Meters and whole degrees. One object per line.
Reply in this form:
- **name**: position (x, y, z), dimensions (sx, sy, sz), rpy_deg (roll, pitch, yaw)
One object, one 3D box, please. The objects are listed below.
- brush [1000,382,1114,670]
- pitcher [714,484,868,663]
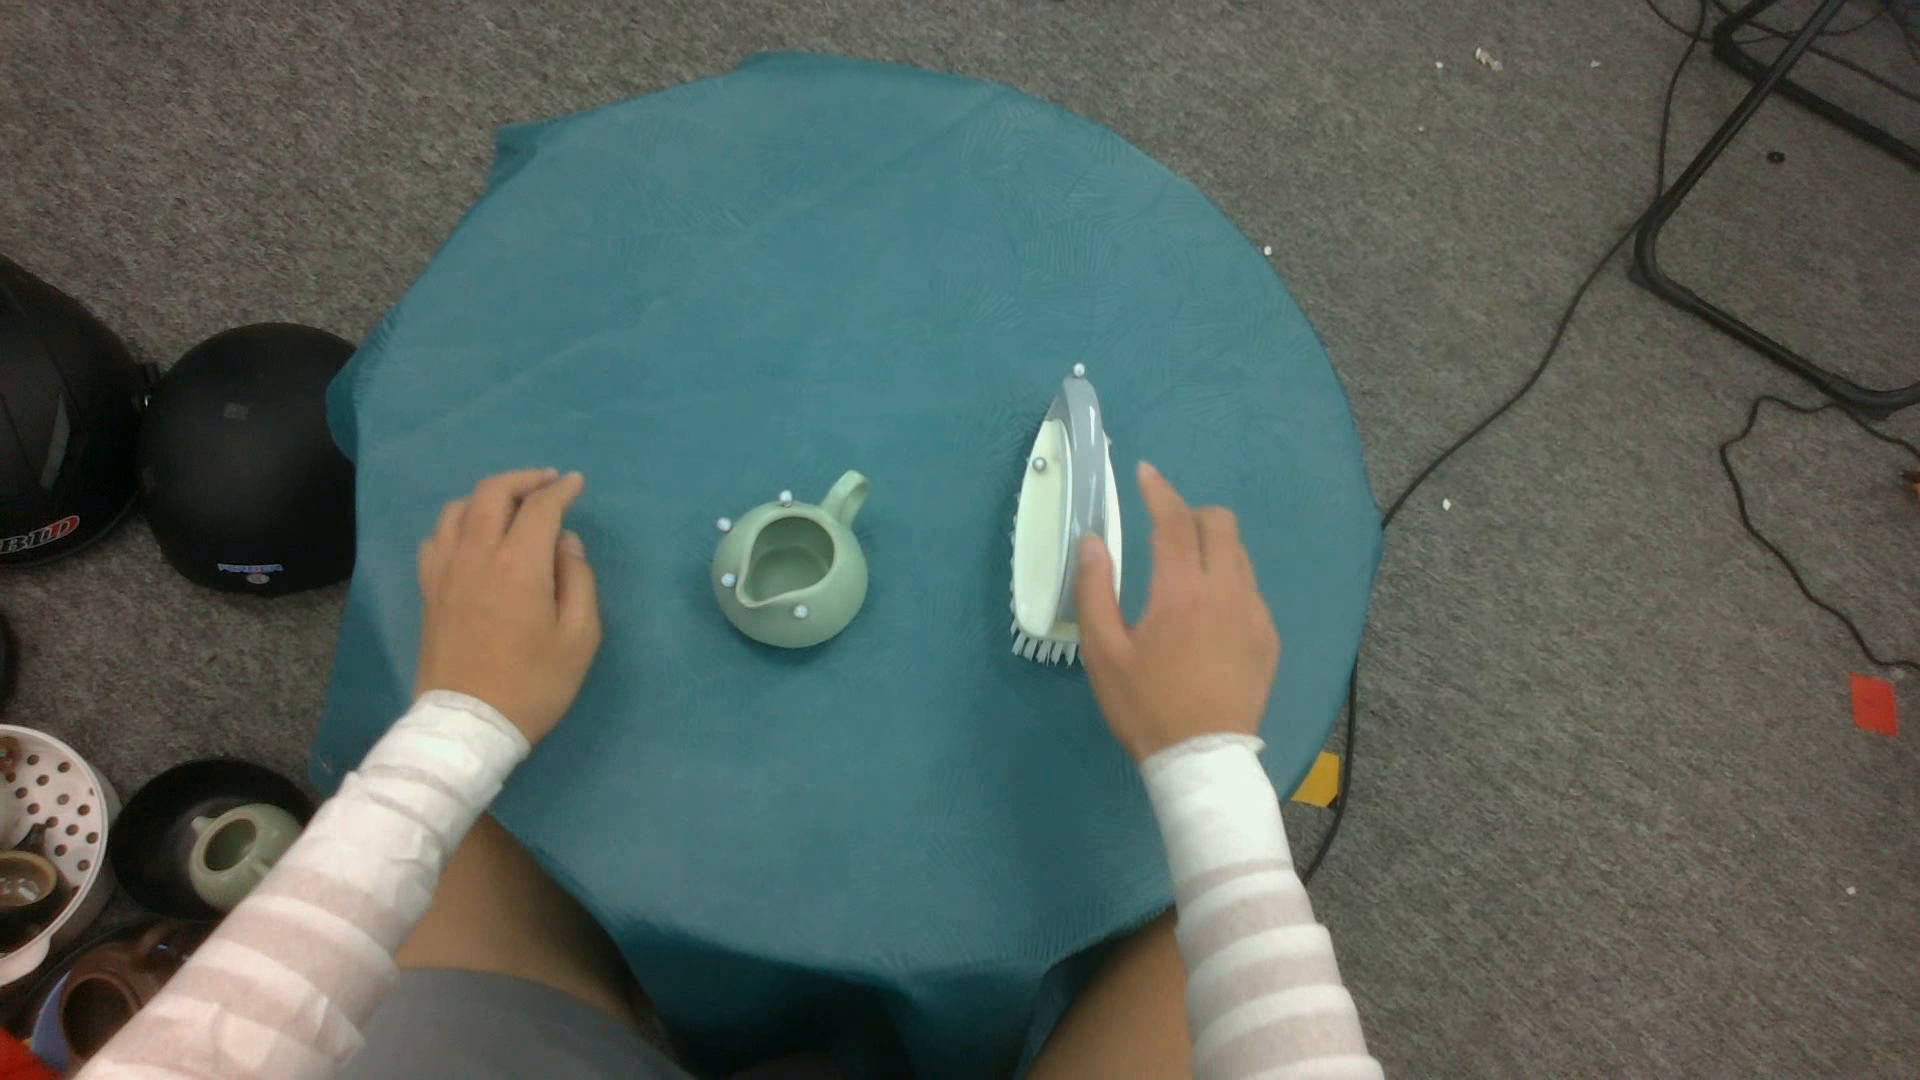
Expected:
- **brush**: position (0.061, -0.022, 0.788), dimensions (0.061, 0.094, 0.176), rpy_deg (7, 63, -10)
- **pitcher**: position (-0.087, 0.015, 0.767), dimensions (0.086, 0.060, 0.108), rpy_deg (32, 63, 5)
